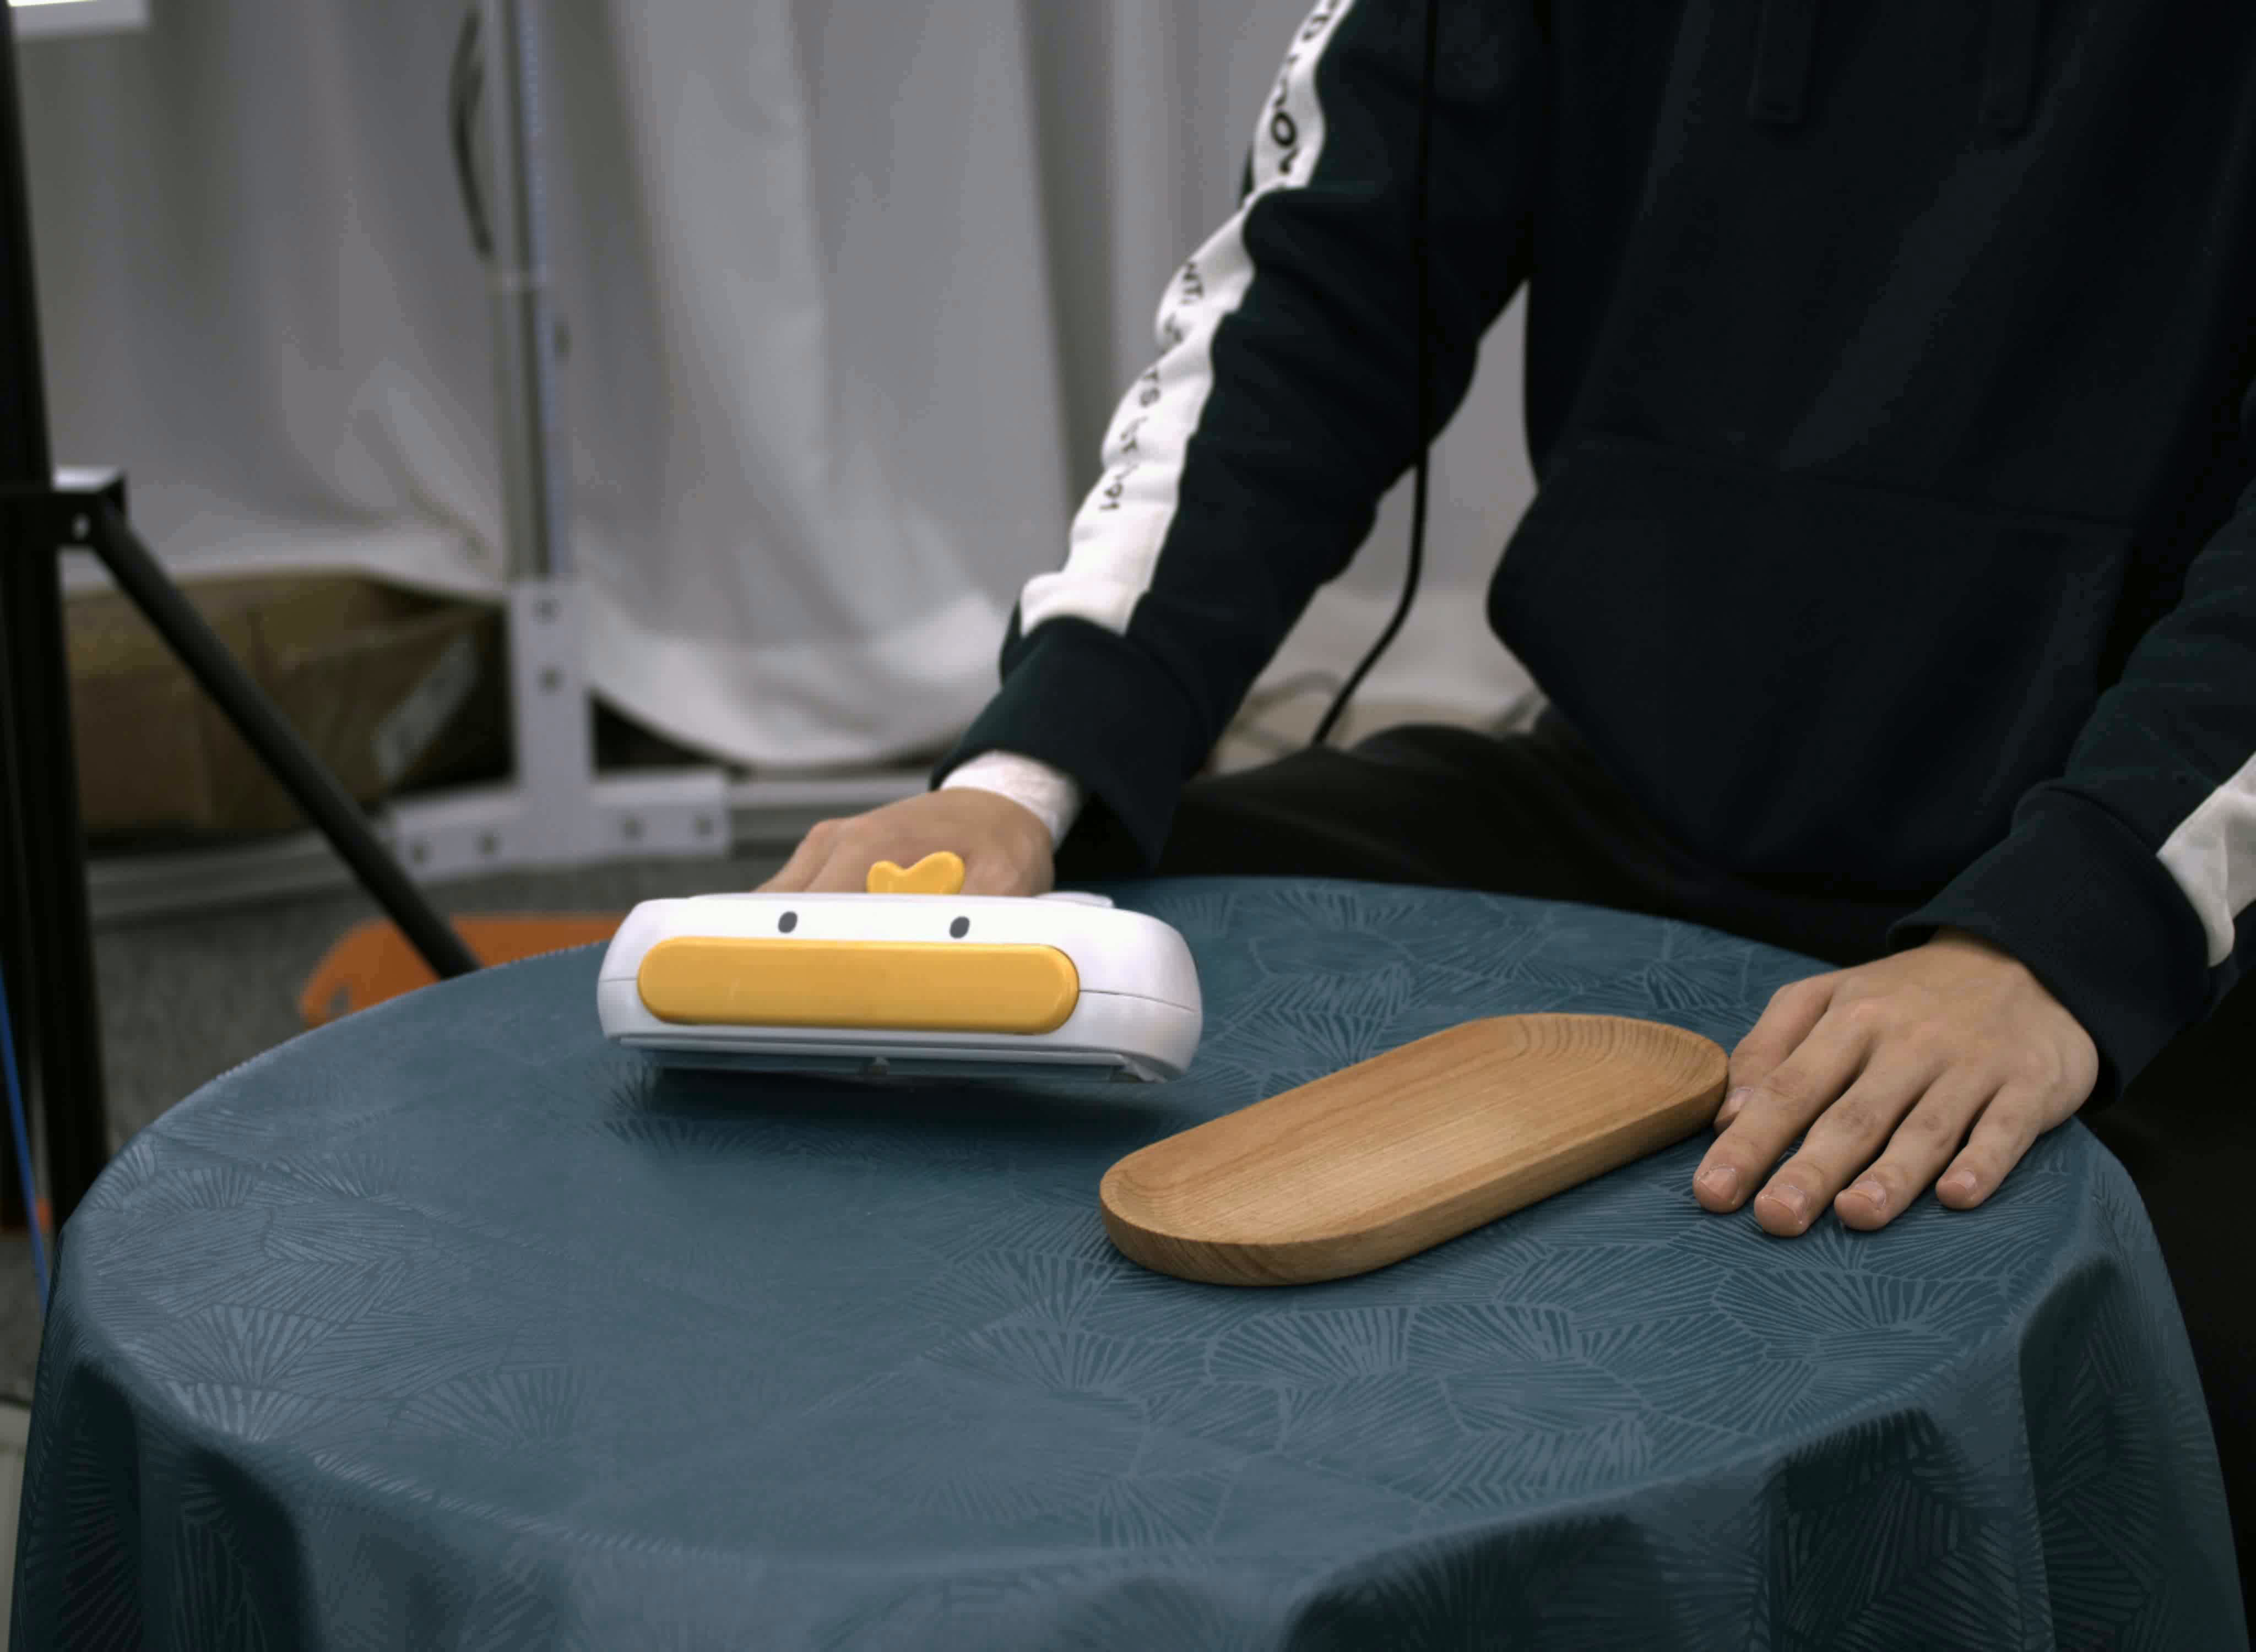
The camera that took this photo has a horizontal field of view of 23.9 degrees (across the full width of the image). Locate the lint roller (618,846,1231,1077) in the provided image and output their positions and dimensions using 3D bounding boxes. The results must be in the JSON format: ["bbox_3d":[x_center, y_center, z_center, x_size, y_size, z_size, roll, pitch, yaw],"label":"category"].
[{"bbox_3d":[-0.047,0.047,1.693,0.195,0.074,0.189,-4,-5,19],"label":"lint roller"}]

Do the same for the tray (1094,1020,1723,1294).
[{"bbox_3d":[0.085,0.096,1.557,0.104,0.020,0.226,11,22,43],"label":"tray"}]
